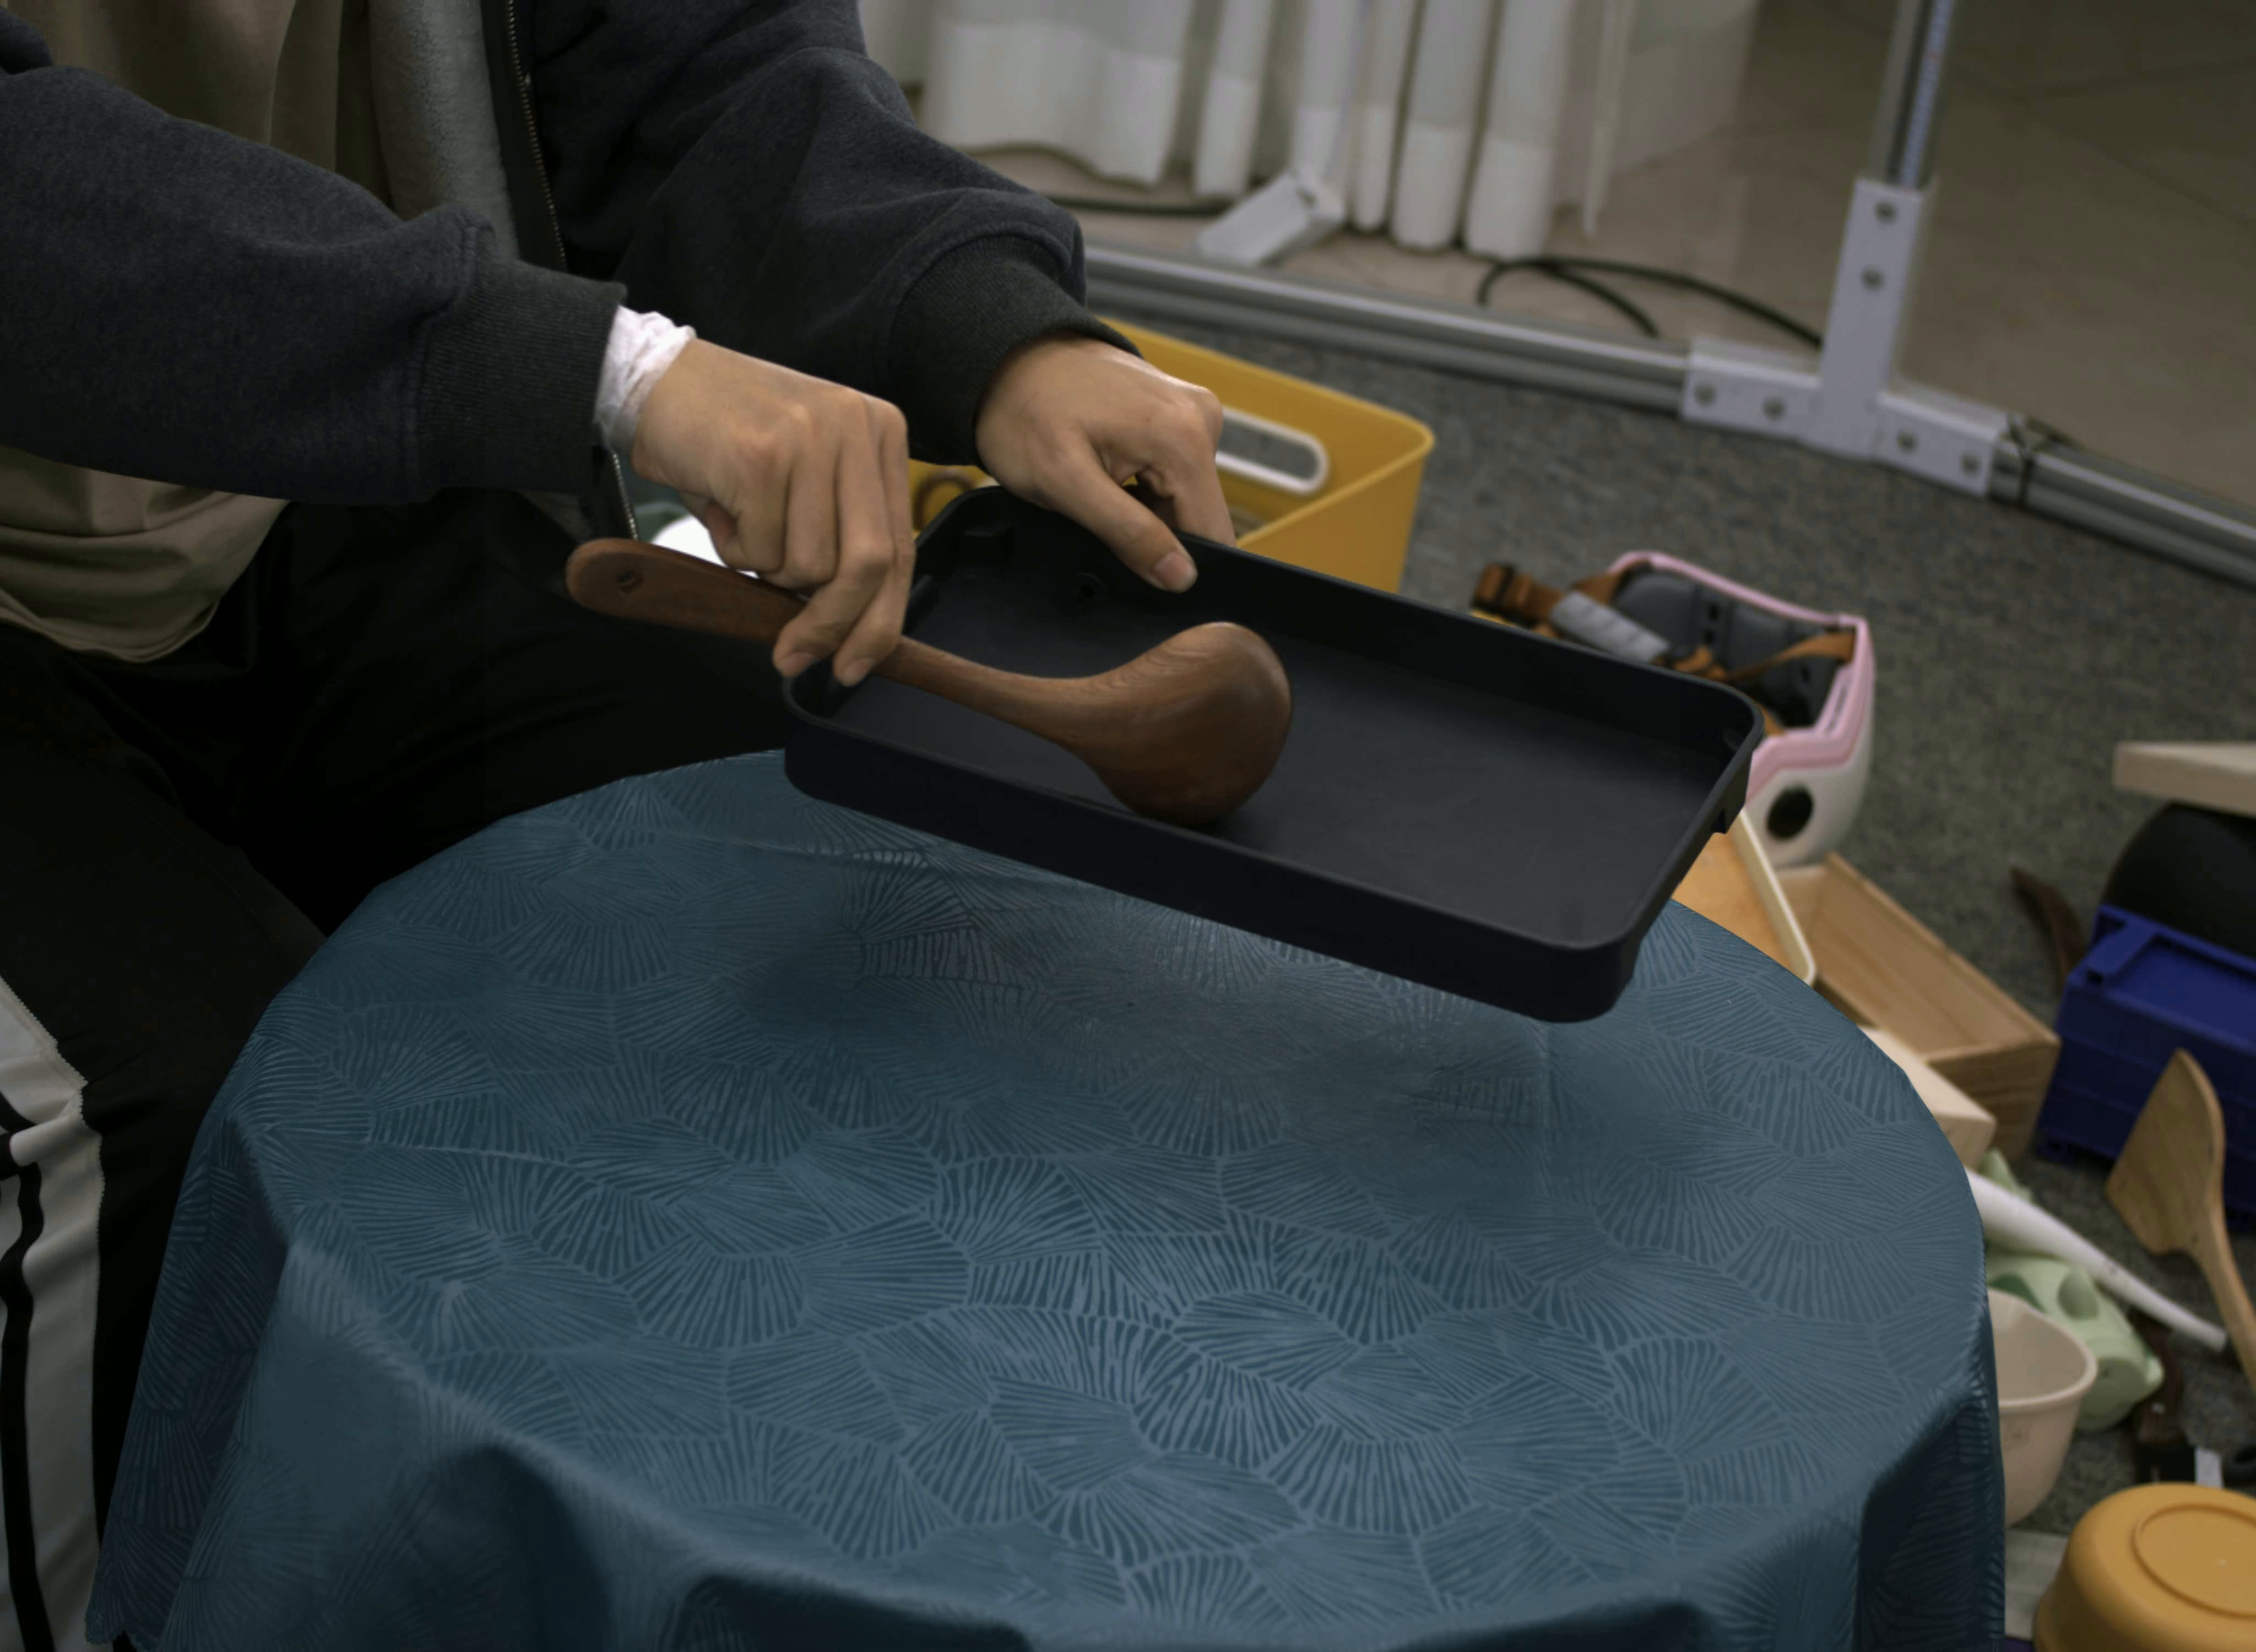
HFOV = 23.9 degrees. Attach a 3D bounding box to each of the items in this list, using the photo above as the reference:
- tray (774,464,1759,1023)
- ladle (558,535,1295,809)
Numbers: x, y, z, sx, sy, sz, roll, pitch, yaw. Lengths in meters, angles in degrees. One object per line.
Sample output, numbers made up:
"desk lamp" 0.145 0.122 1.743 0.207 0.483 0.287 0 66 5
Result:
"tray" 0.048 -0.033 1.879 0.319 0.037 0.184 18 36 18
"ladle" -0.068 -0.062 1.831 0.259 0.076 0.065 16 21 -5
